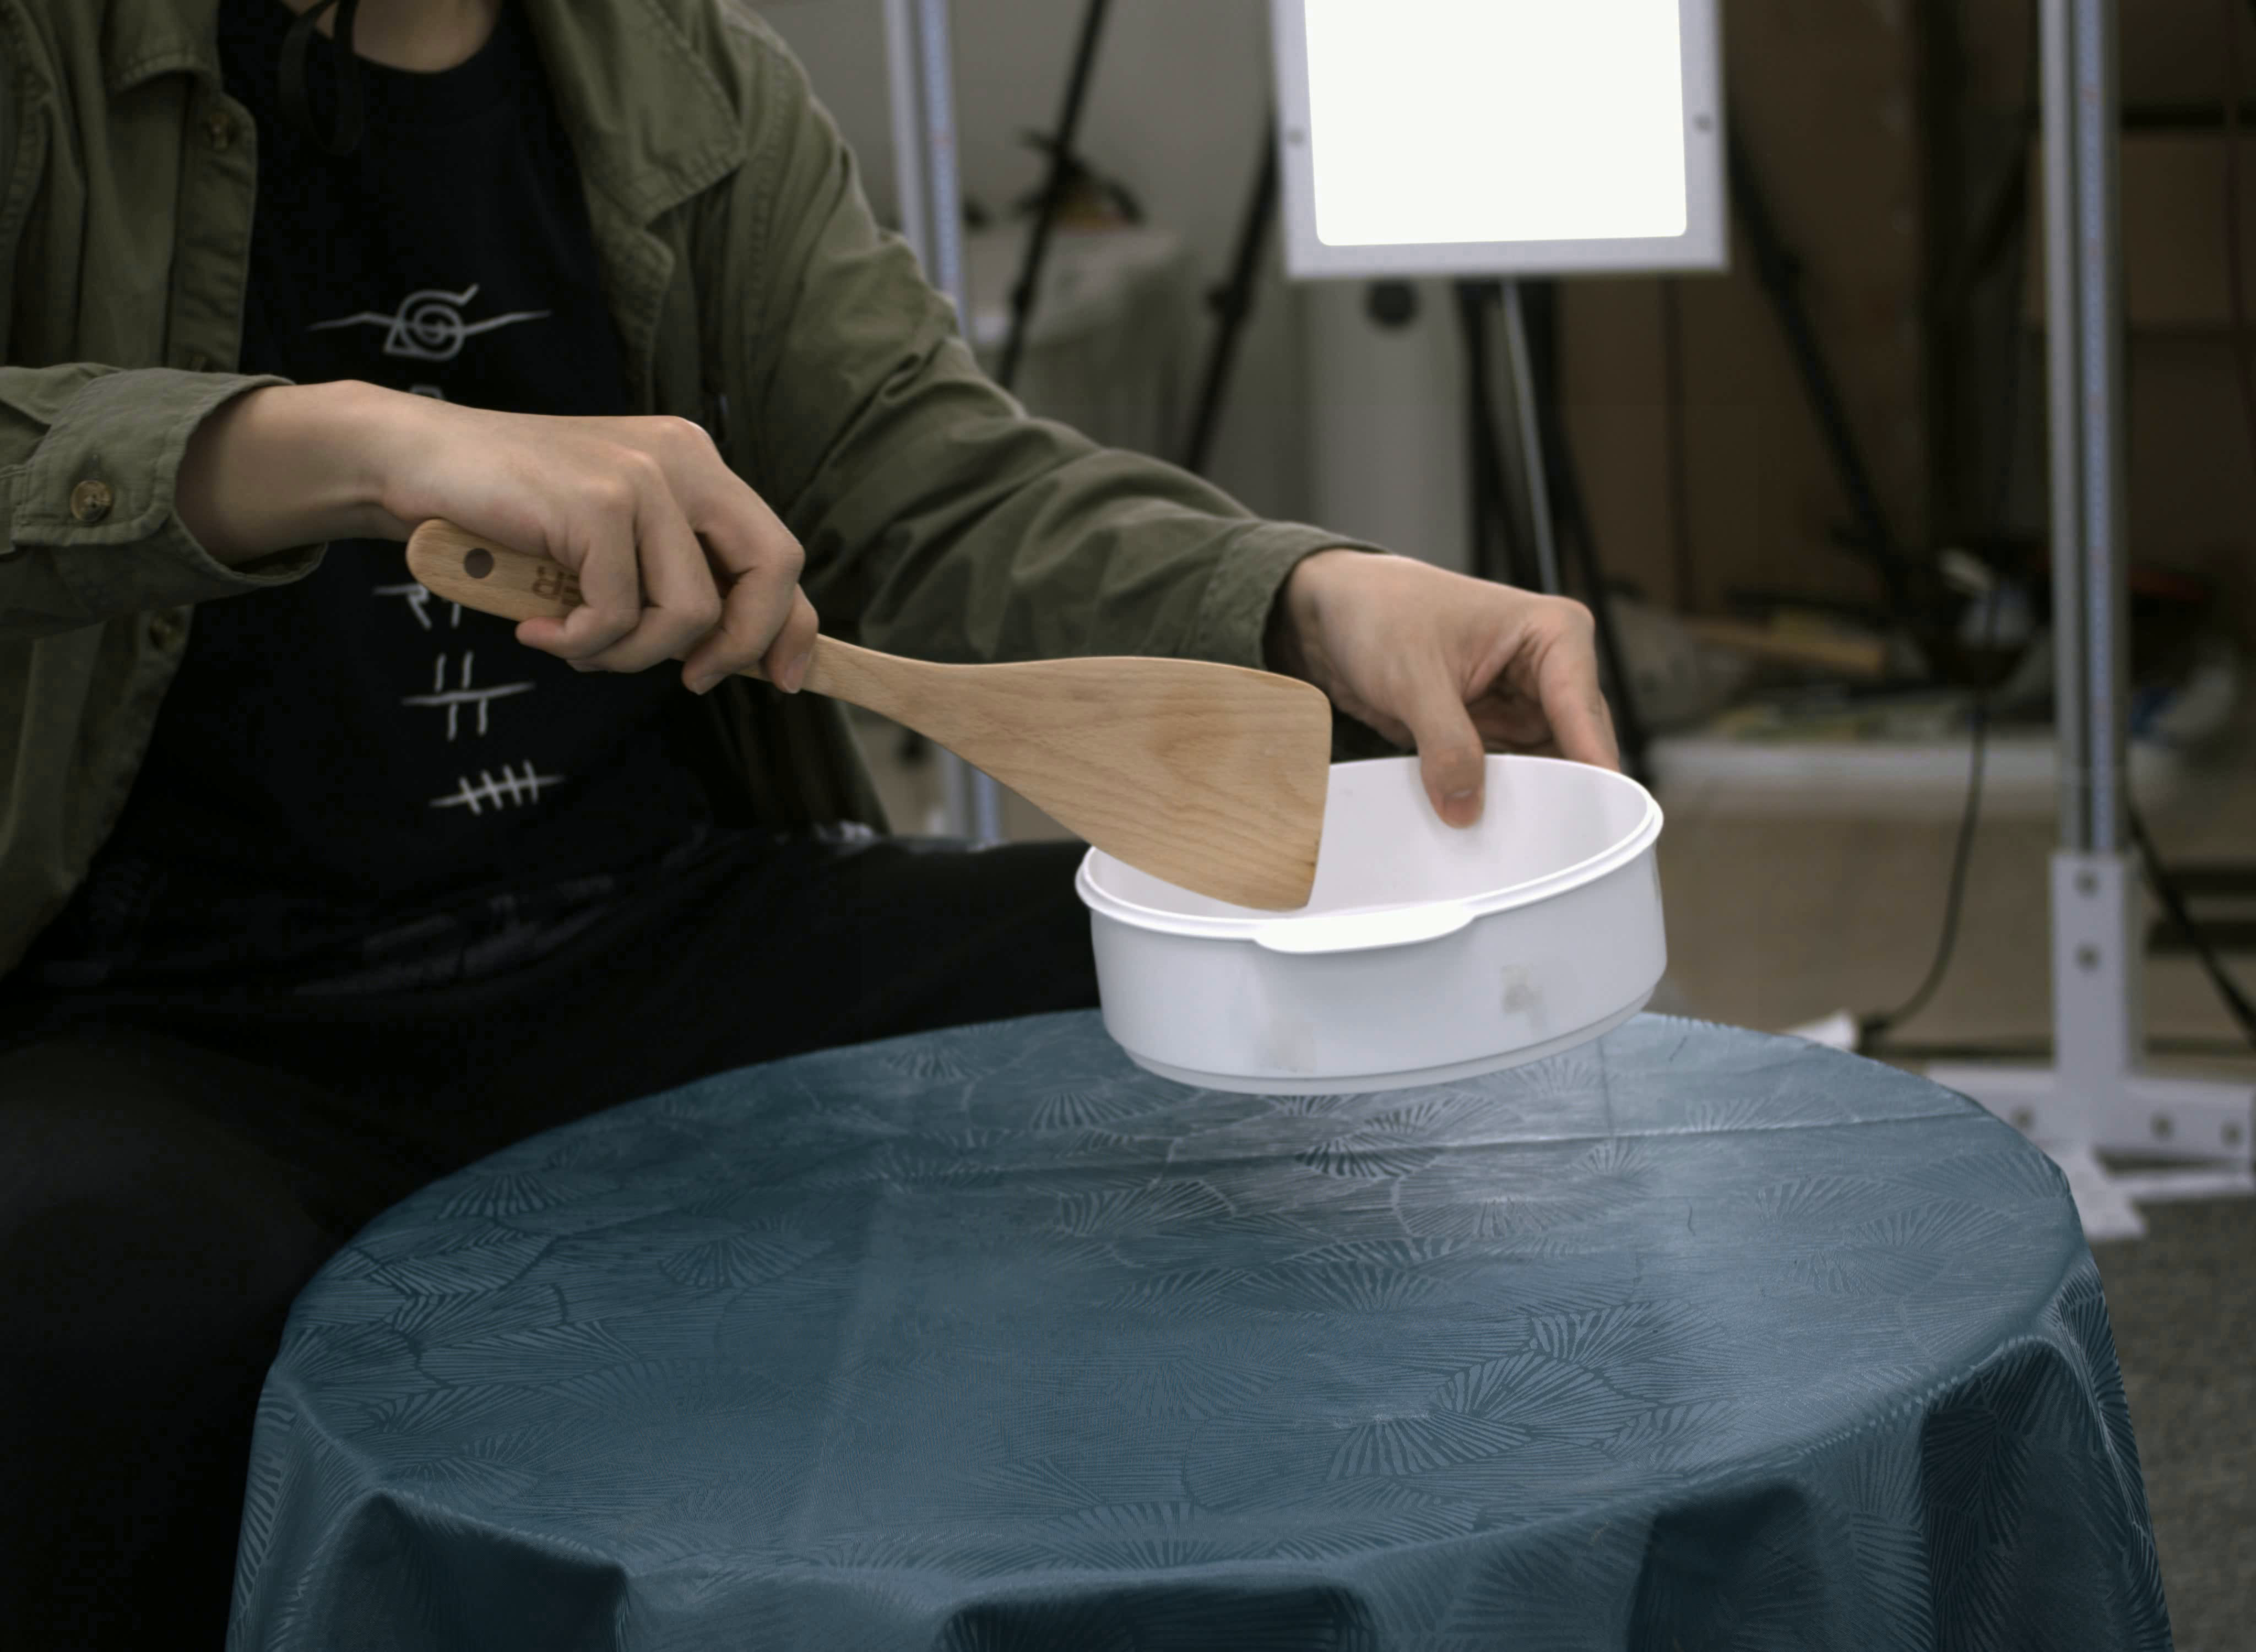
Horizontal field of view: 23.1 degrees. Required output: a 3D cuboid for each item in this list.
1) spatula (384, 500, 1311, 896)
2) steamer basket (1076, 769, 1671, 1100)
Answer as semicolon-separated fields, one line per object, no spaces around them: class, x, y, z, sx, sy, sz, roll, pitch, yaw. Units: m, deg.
spatula;-0.086;-0.053;1.806;0.323;0.080;0.017;16;4;-17
steamer basket;0.086;0.037;1.859;0.202;0.069;0.229;-6;14;6
